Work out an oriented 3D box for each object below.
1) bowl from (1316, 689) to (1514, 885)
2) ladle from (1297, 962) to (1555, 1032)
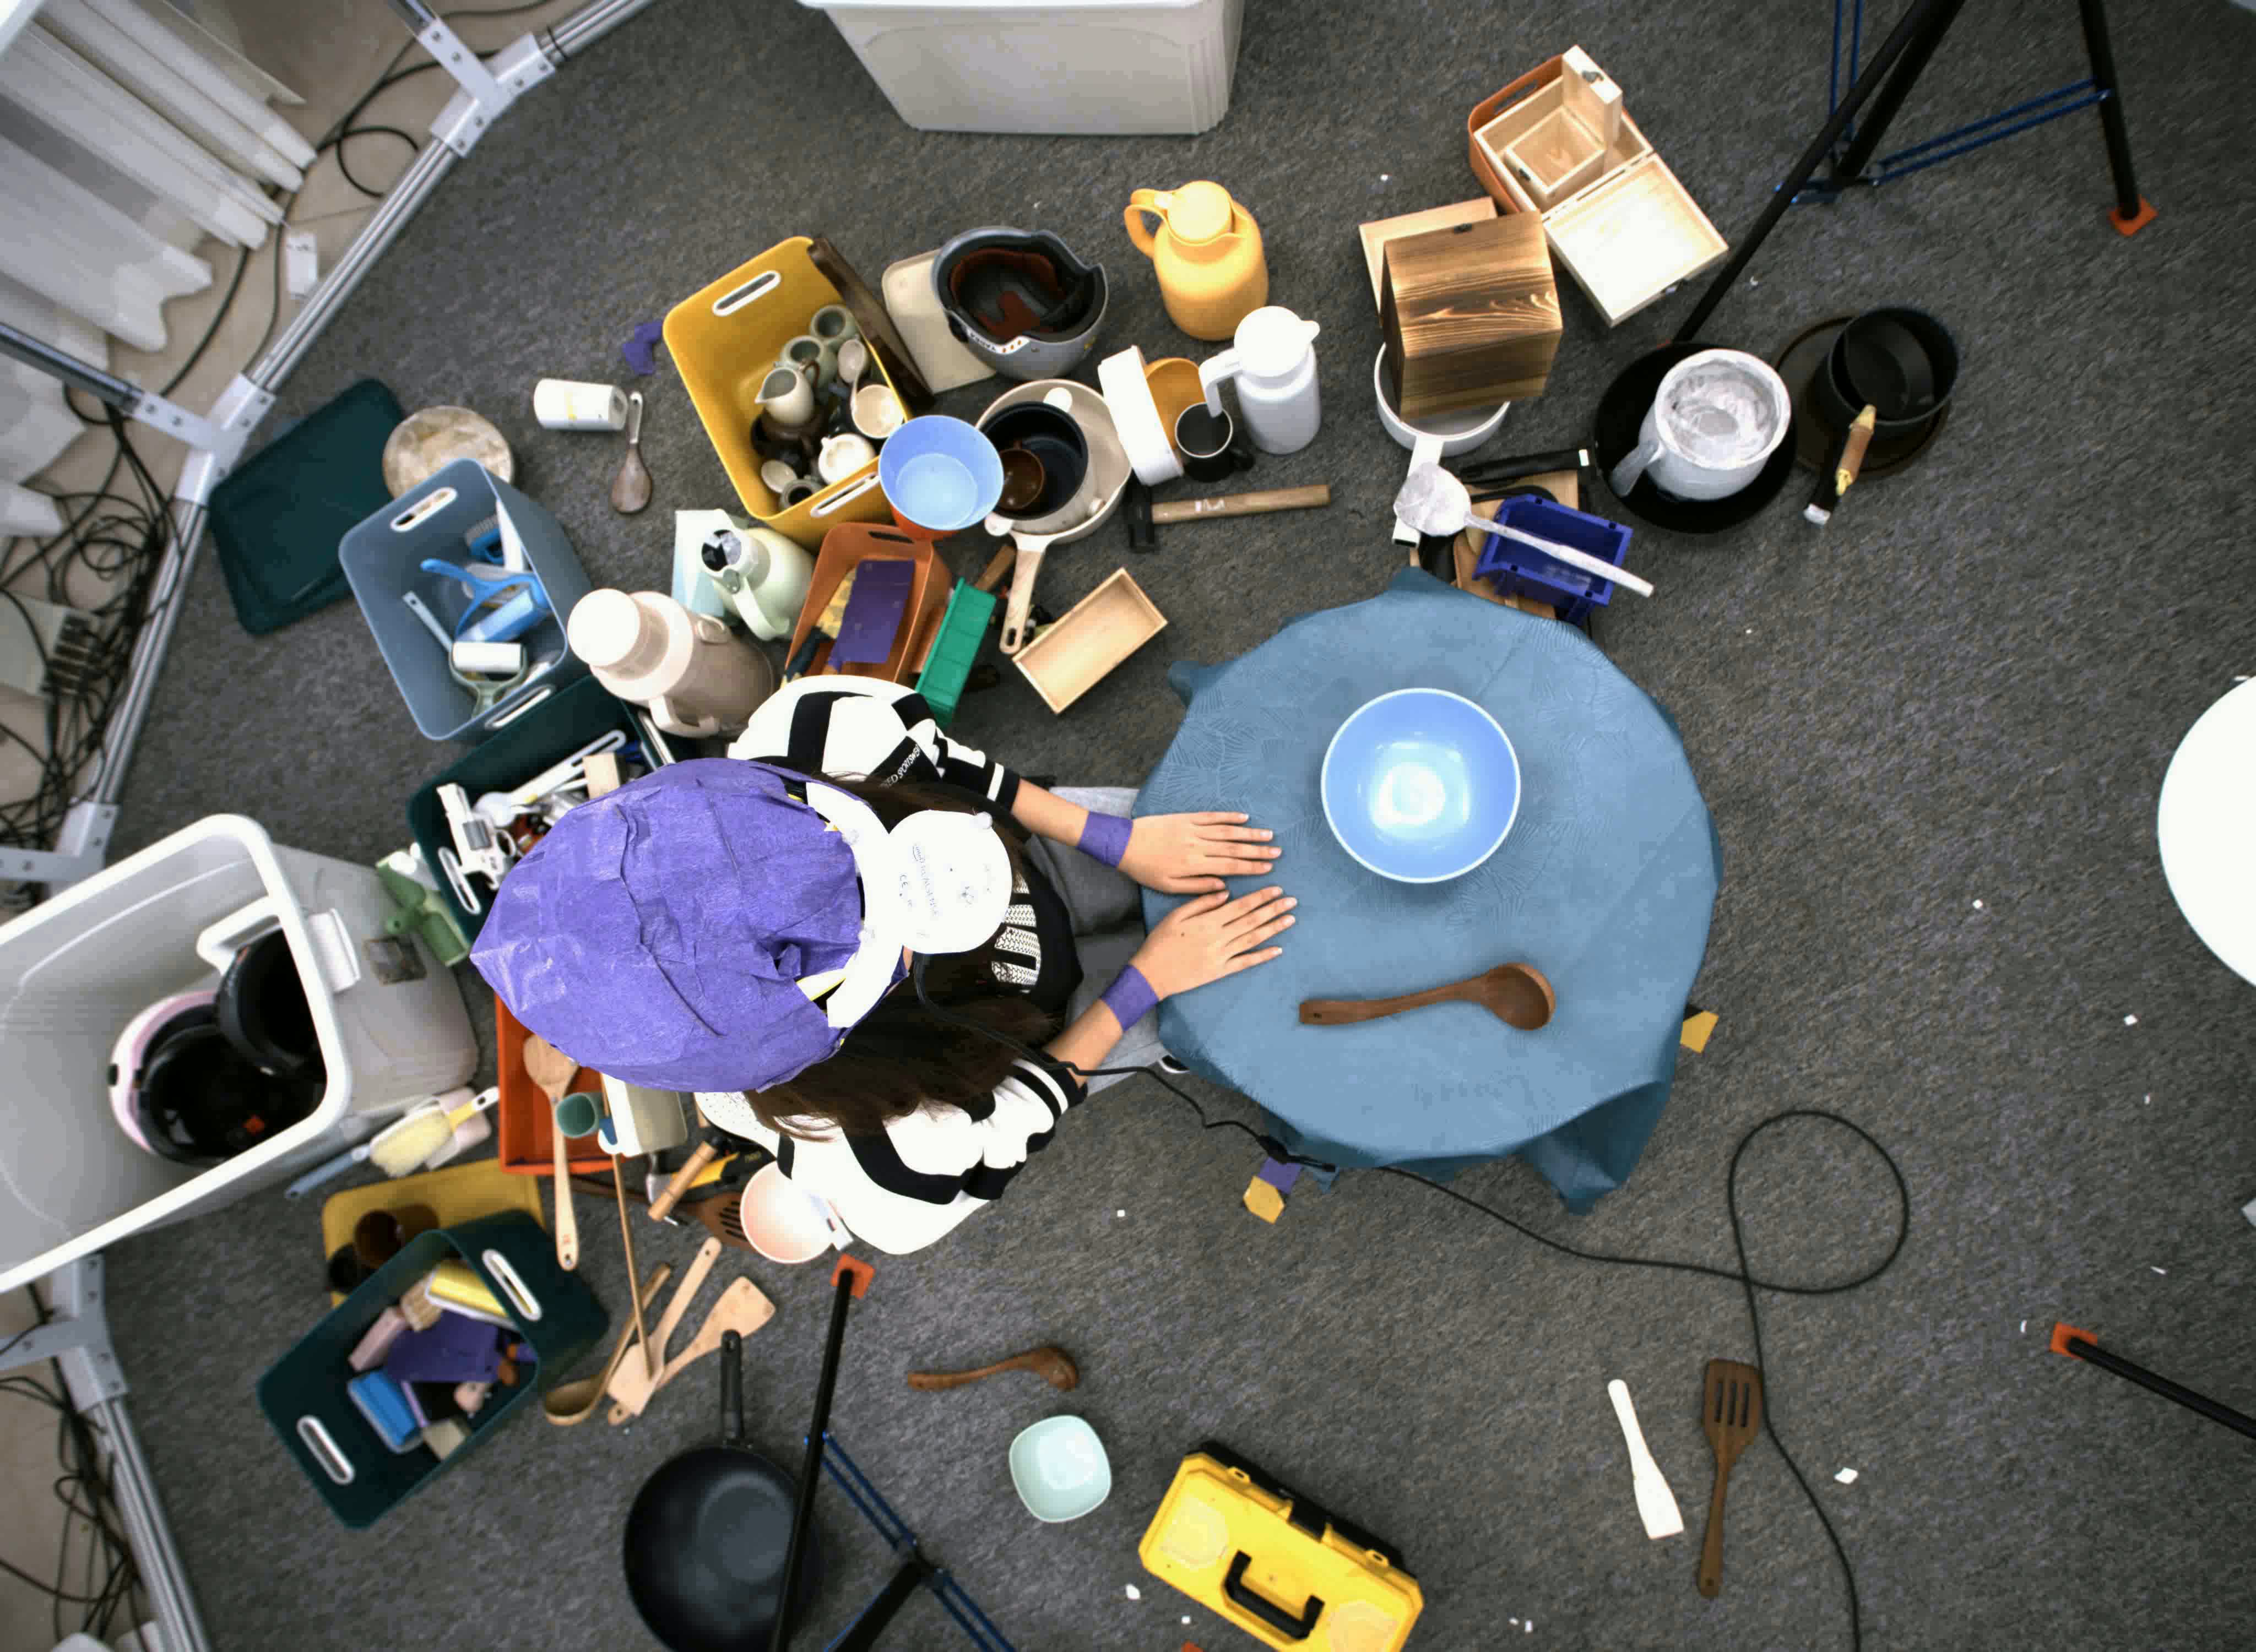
[{"bbox_3d":[0.289,-0.040,1.415,0.197,0.095,0.196,0,91,6],"label":"bowl"},{"bbox_3d":[0.304,0.185,1.418,0.261,0.064,0.078,-9,112,10],"label":"ladle"}]
